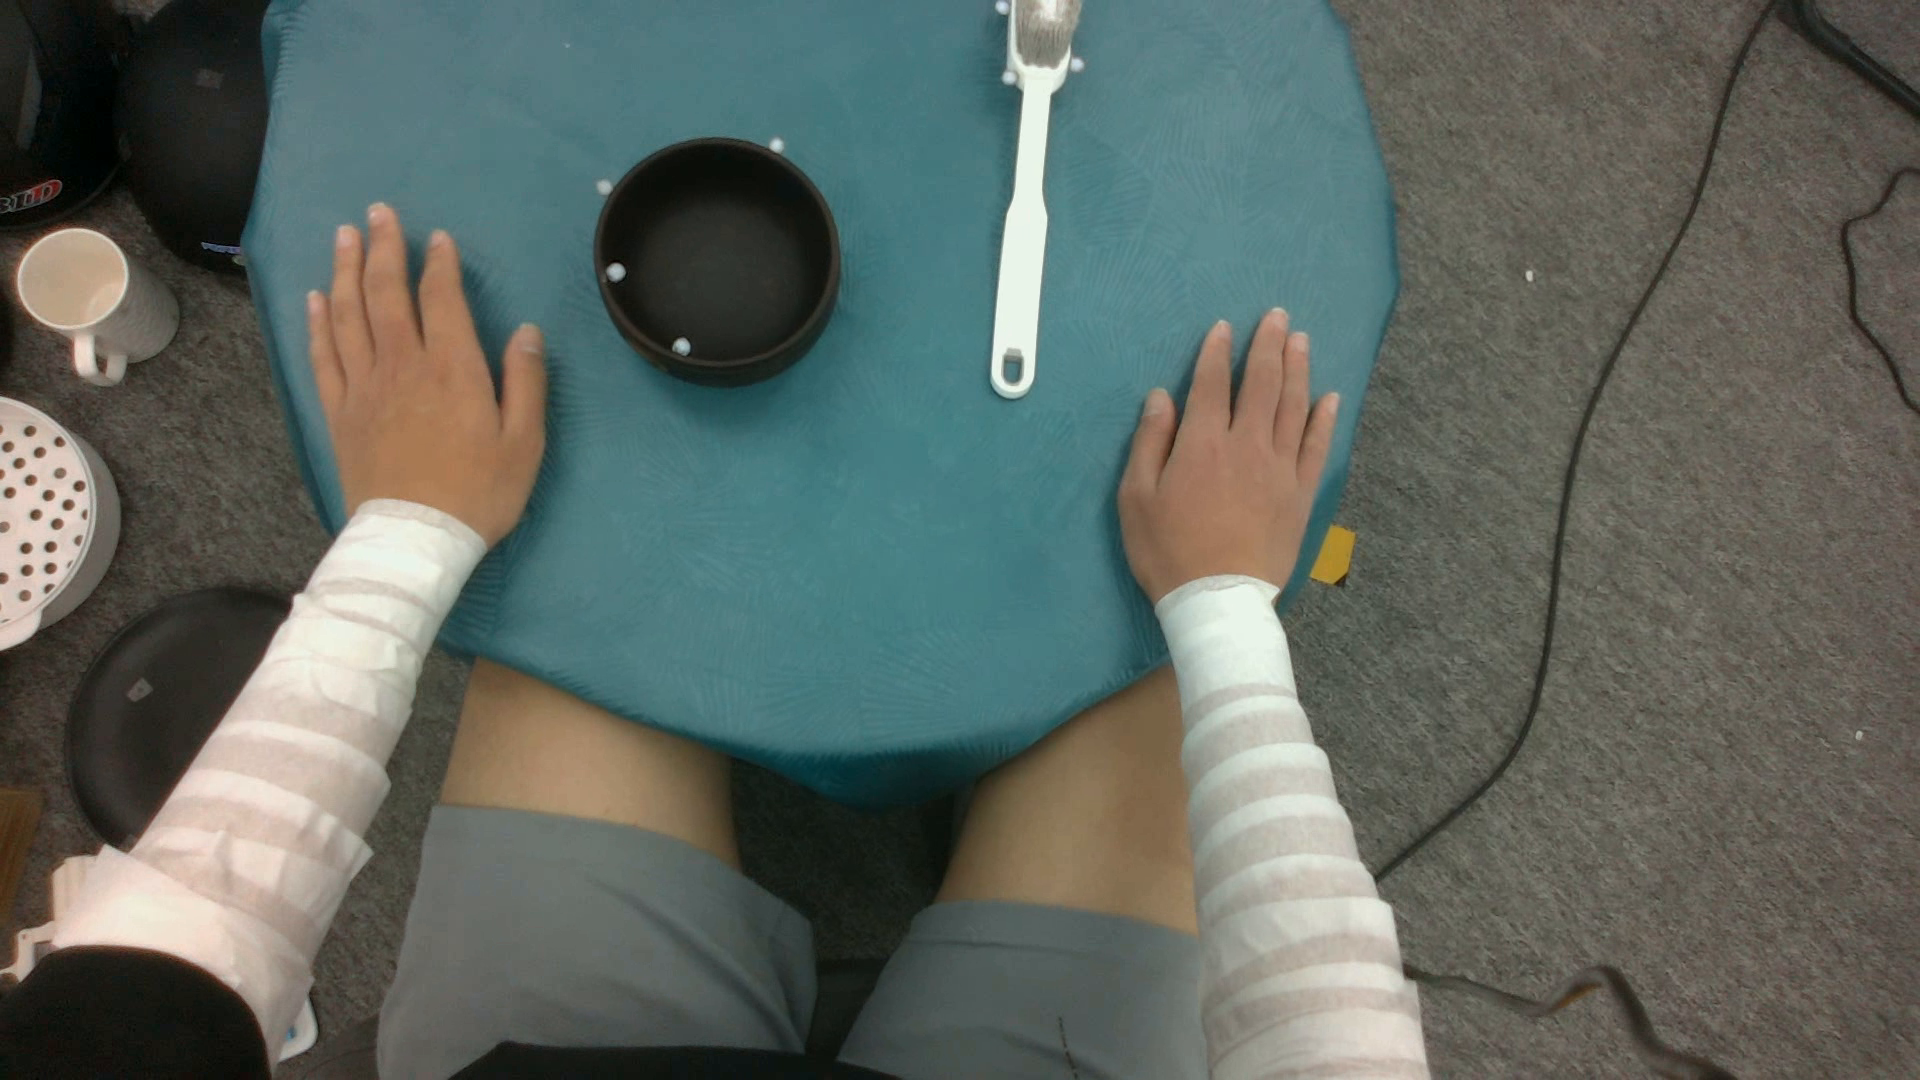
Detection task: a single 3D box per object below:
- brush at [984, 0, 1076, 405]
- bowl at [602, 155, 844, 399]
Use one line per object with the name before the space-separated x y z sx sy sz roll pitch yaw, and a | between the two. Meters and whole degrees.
brush | 0.036 -0.194 0.740 0.034 0.050 0.244 6 78 -4
bowl | -0.118 -0.127 0.697 0.118 0.069 0.118 1 81 -8
